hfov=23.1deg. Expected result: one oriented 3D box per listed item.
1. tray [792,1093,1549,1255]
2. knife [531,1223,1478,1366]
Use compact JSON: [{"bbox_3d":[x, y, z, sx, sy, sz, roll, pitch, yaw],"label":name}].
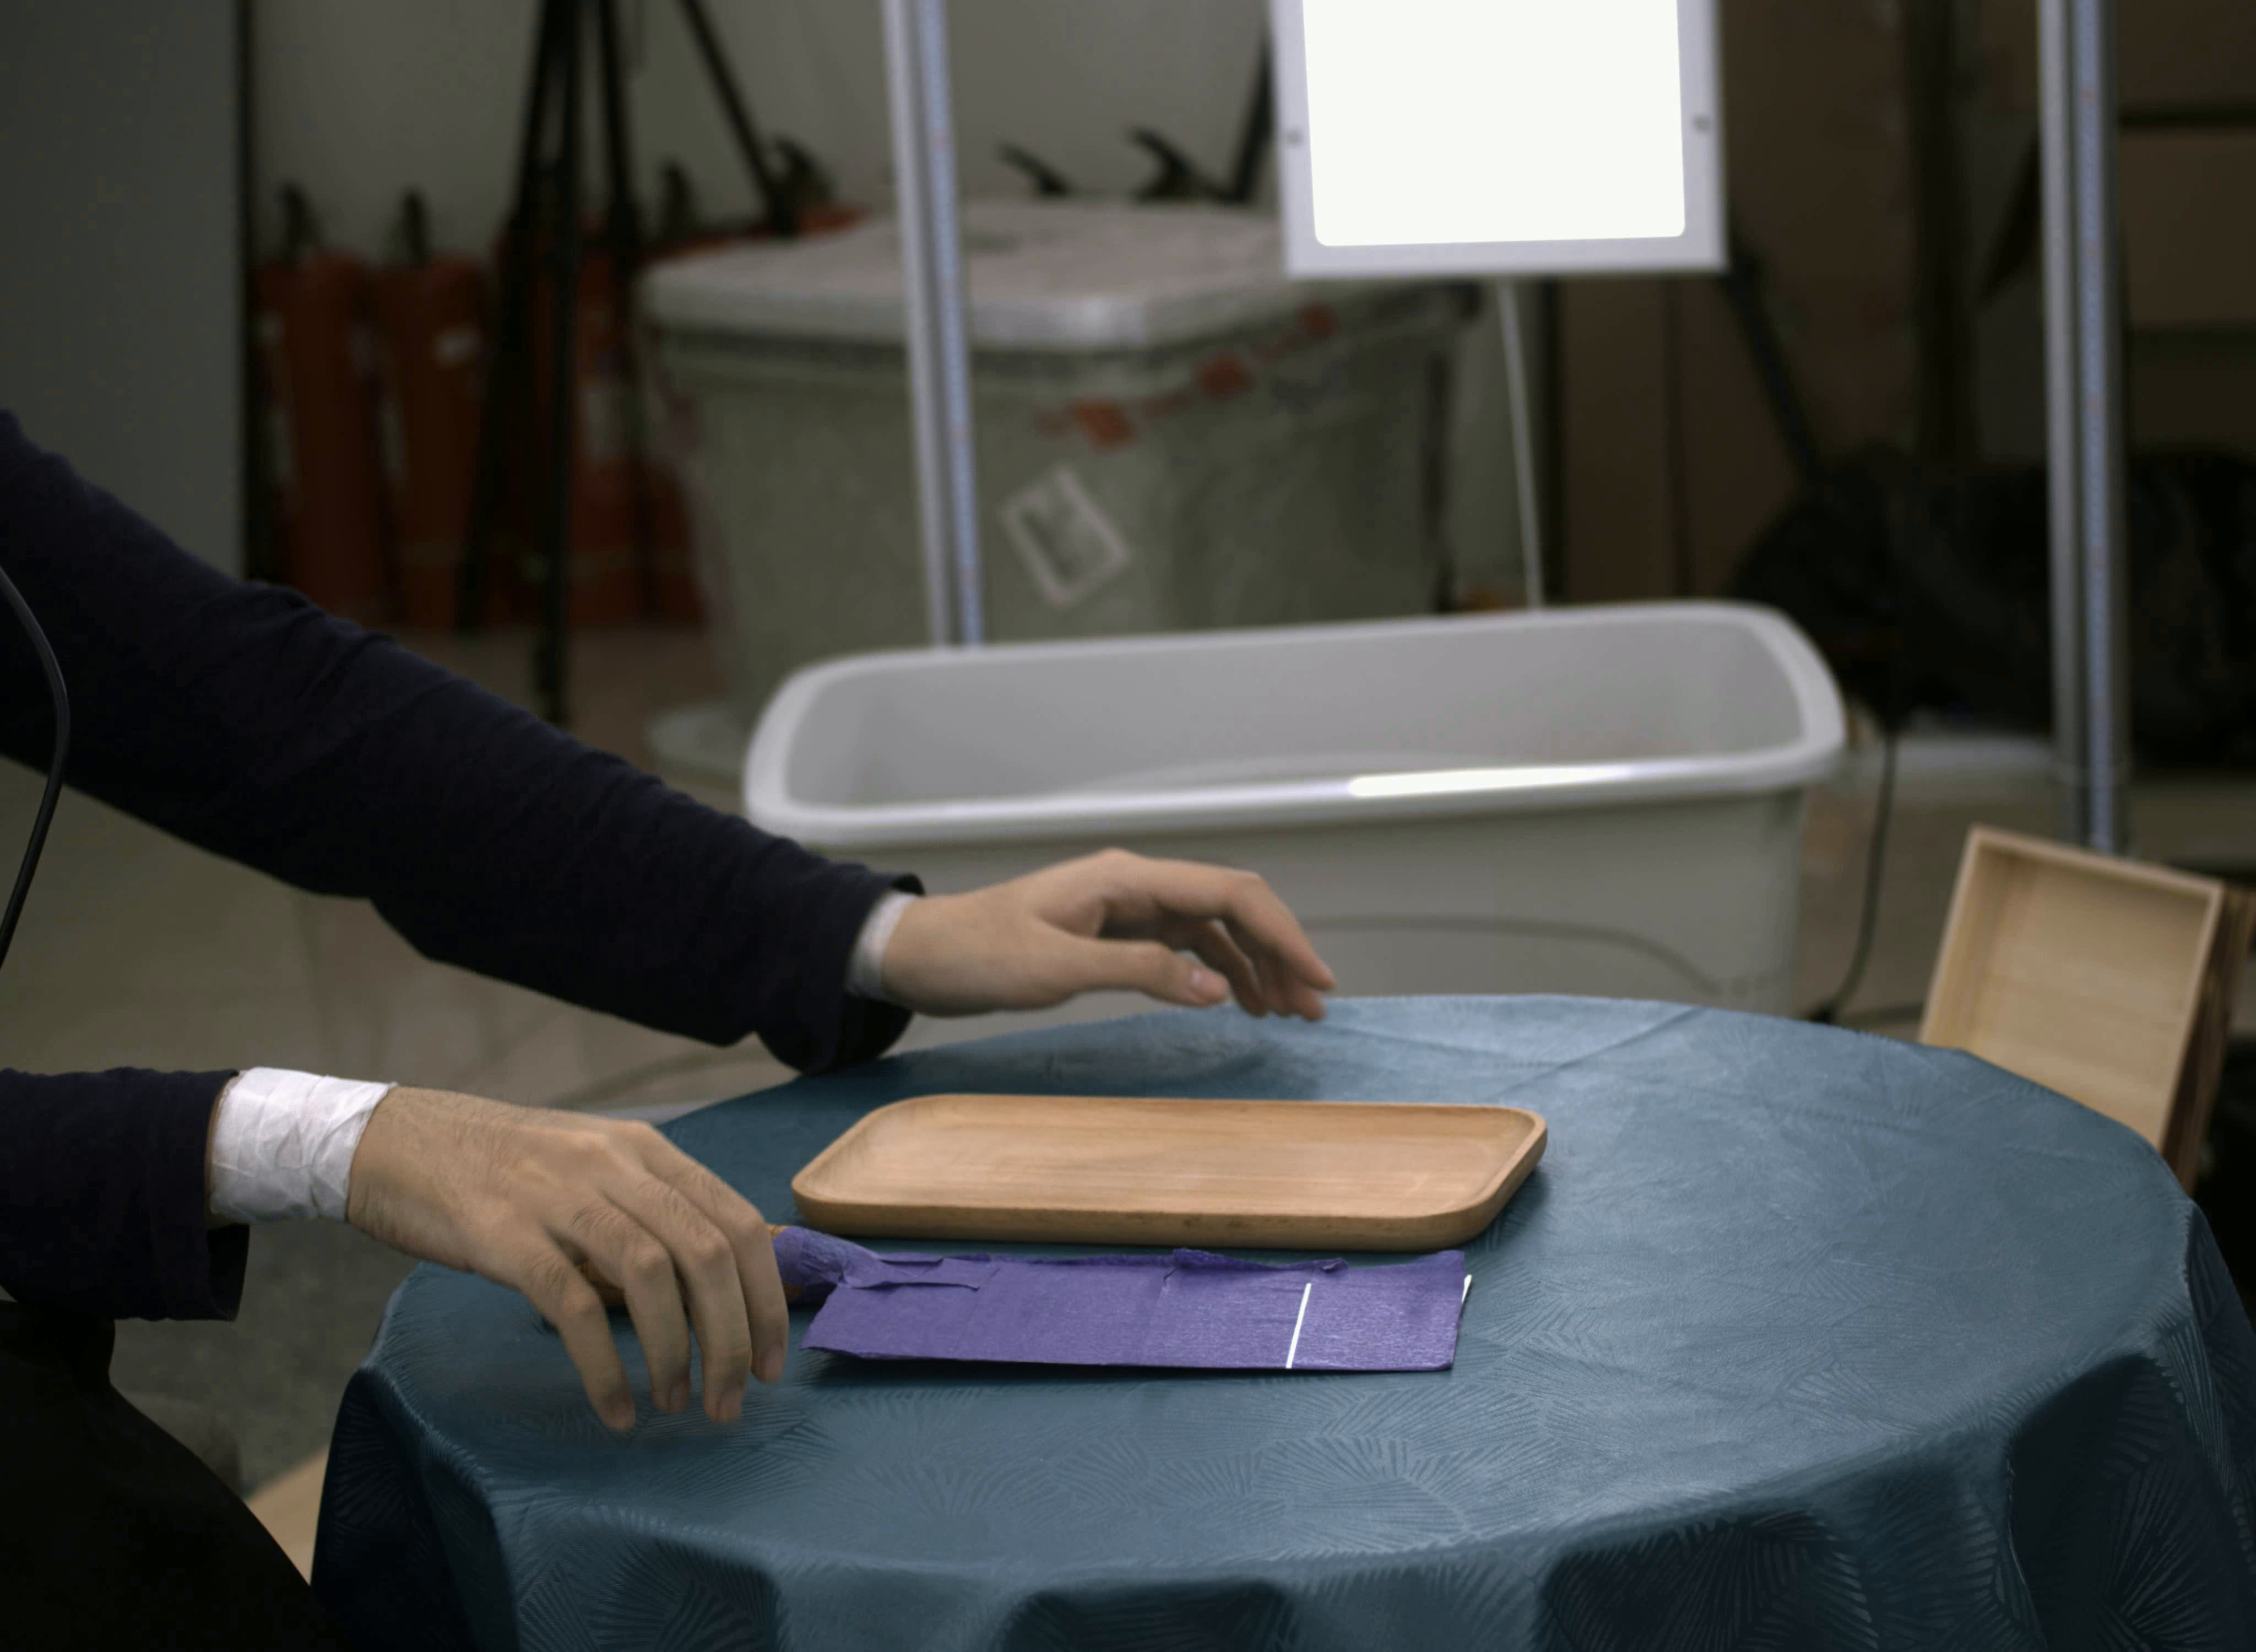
[{"bbox_3d":[0.015,0.119,1.895,0.254,0.023,0.128,1,17,23],"label":"tray"},{"bbox_3d":[-0.046,0.150,1.768,0.317,0.032,0.103,-2,14,12],"label":"knife"}]
